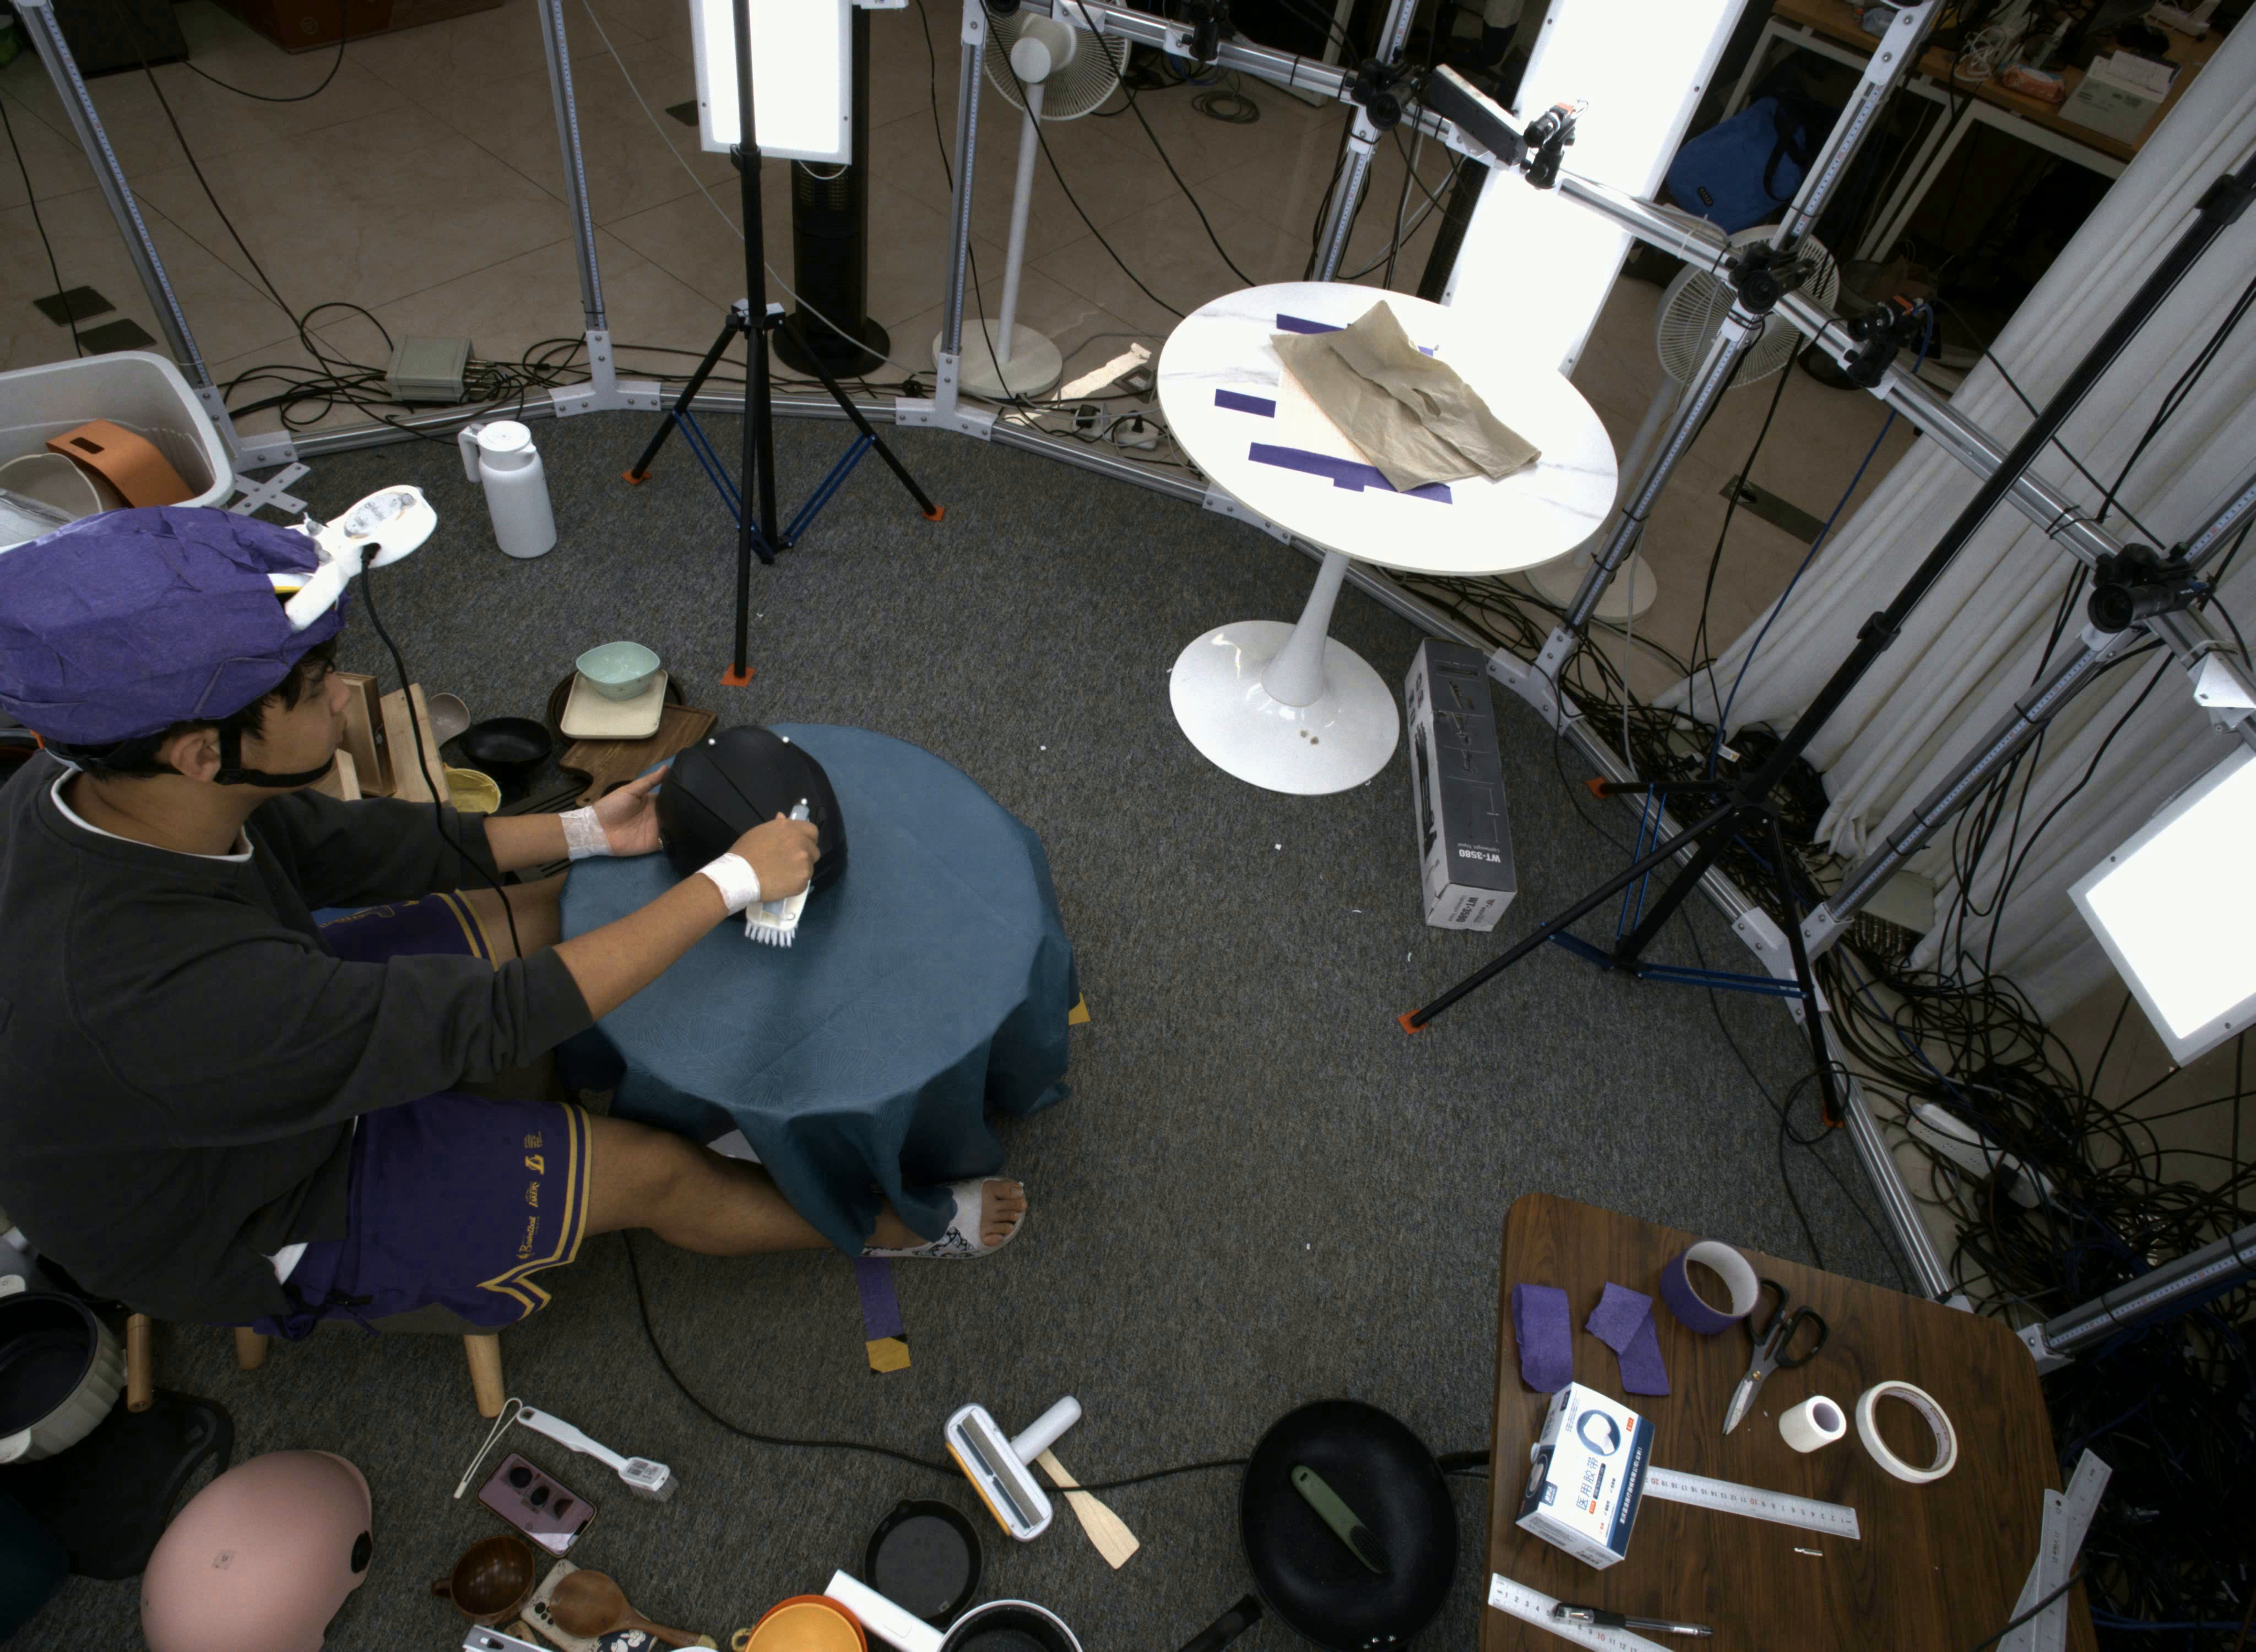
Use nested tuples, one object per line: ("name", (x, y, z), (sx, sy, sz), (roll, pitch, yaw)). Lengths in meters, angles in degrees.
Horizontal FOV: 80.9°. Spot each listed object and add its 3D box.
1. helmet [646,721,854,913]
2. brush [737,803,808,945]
("helmet", (-0.474, -0.028, 1.634), (0.248, 0.175, 0.271), (-28, 69, -31))
("brush", (-0.385, 0.034, 1.443), (0.062, 0.095, 0.172), (16, 49, -11))
